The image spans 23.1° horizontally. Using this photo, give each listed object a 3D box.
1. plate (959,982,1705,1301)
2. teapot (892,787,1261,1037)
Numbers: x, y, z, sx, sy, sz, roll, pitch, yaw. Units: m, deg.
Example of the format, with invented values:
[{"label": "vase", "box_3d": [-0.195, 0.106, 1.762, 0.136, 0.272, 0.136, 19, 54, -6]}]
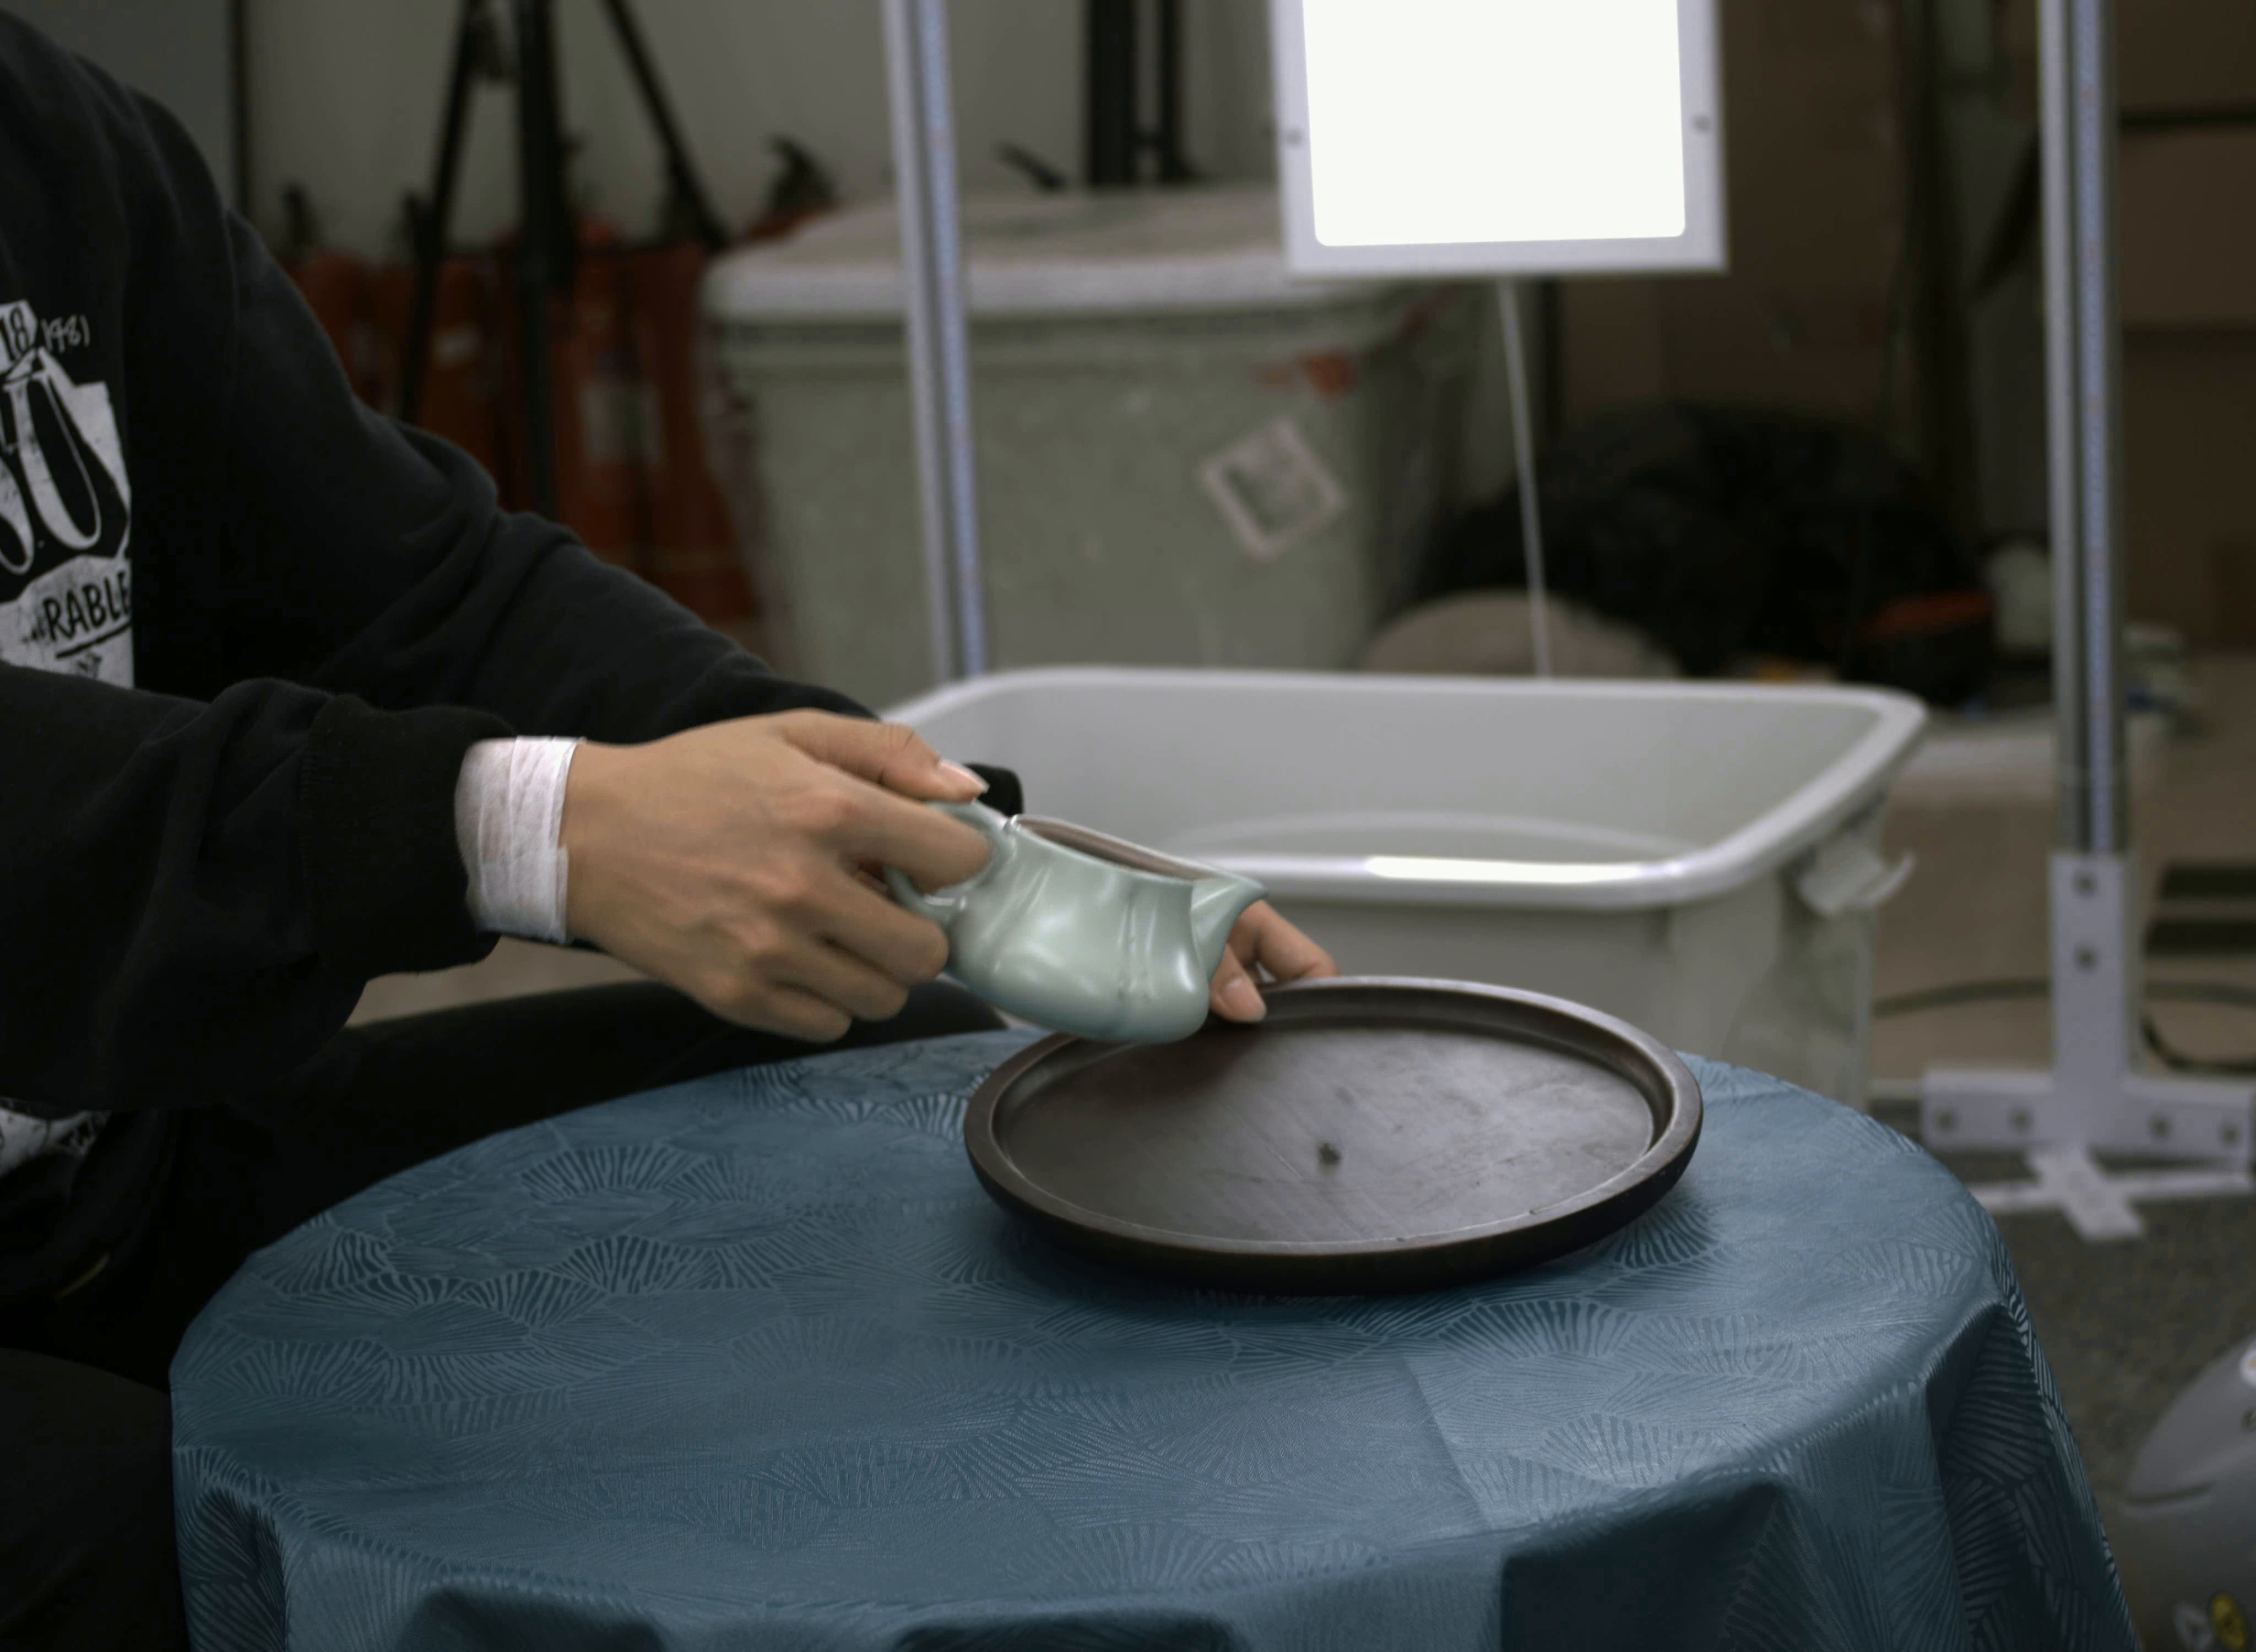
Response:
[{"label": "plate", "box_3d": [0.070, 0.104, 1.872, 0.254, 0.029, 0.254, -3, 20, 0]}, {"label": "teapot", "box_3d": [-0.020, 0.028, 1.735, 0.134, 0.062, 0.098, 15, 8, -33]}]
